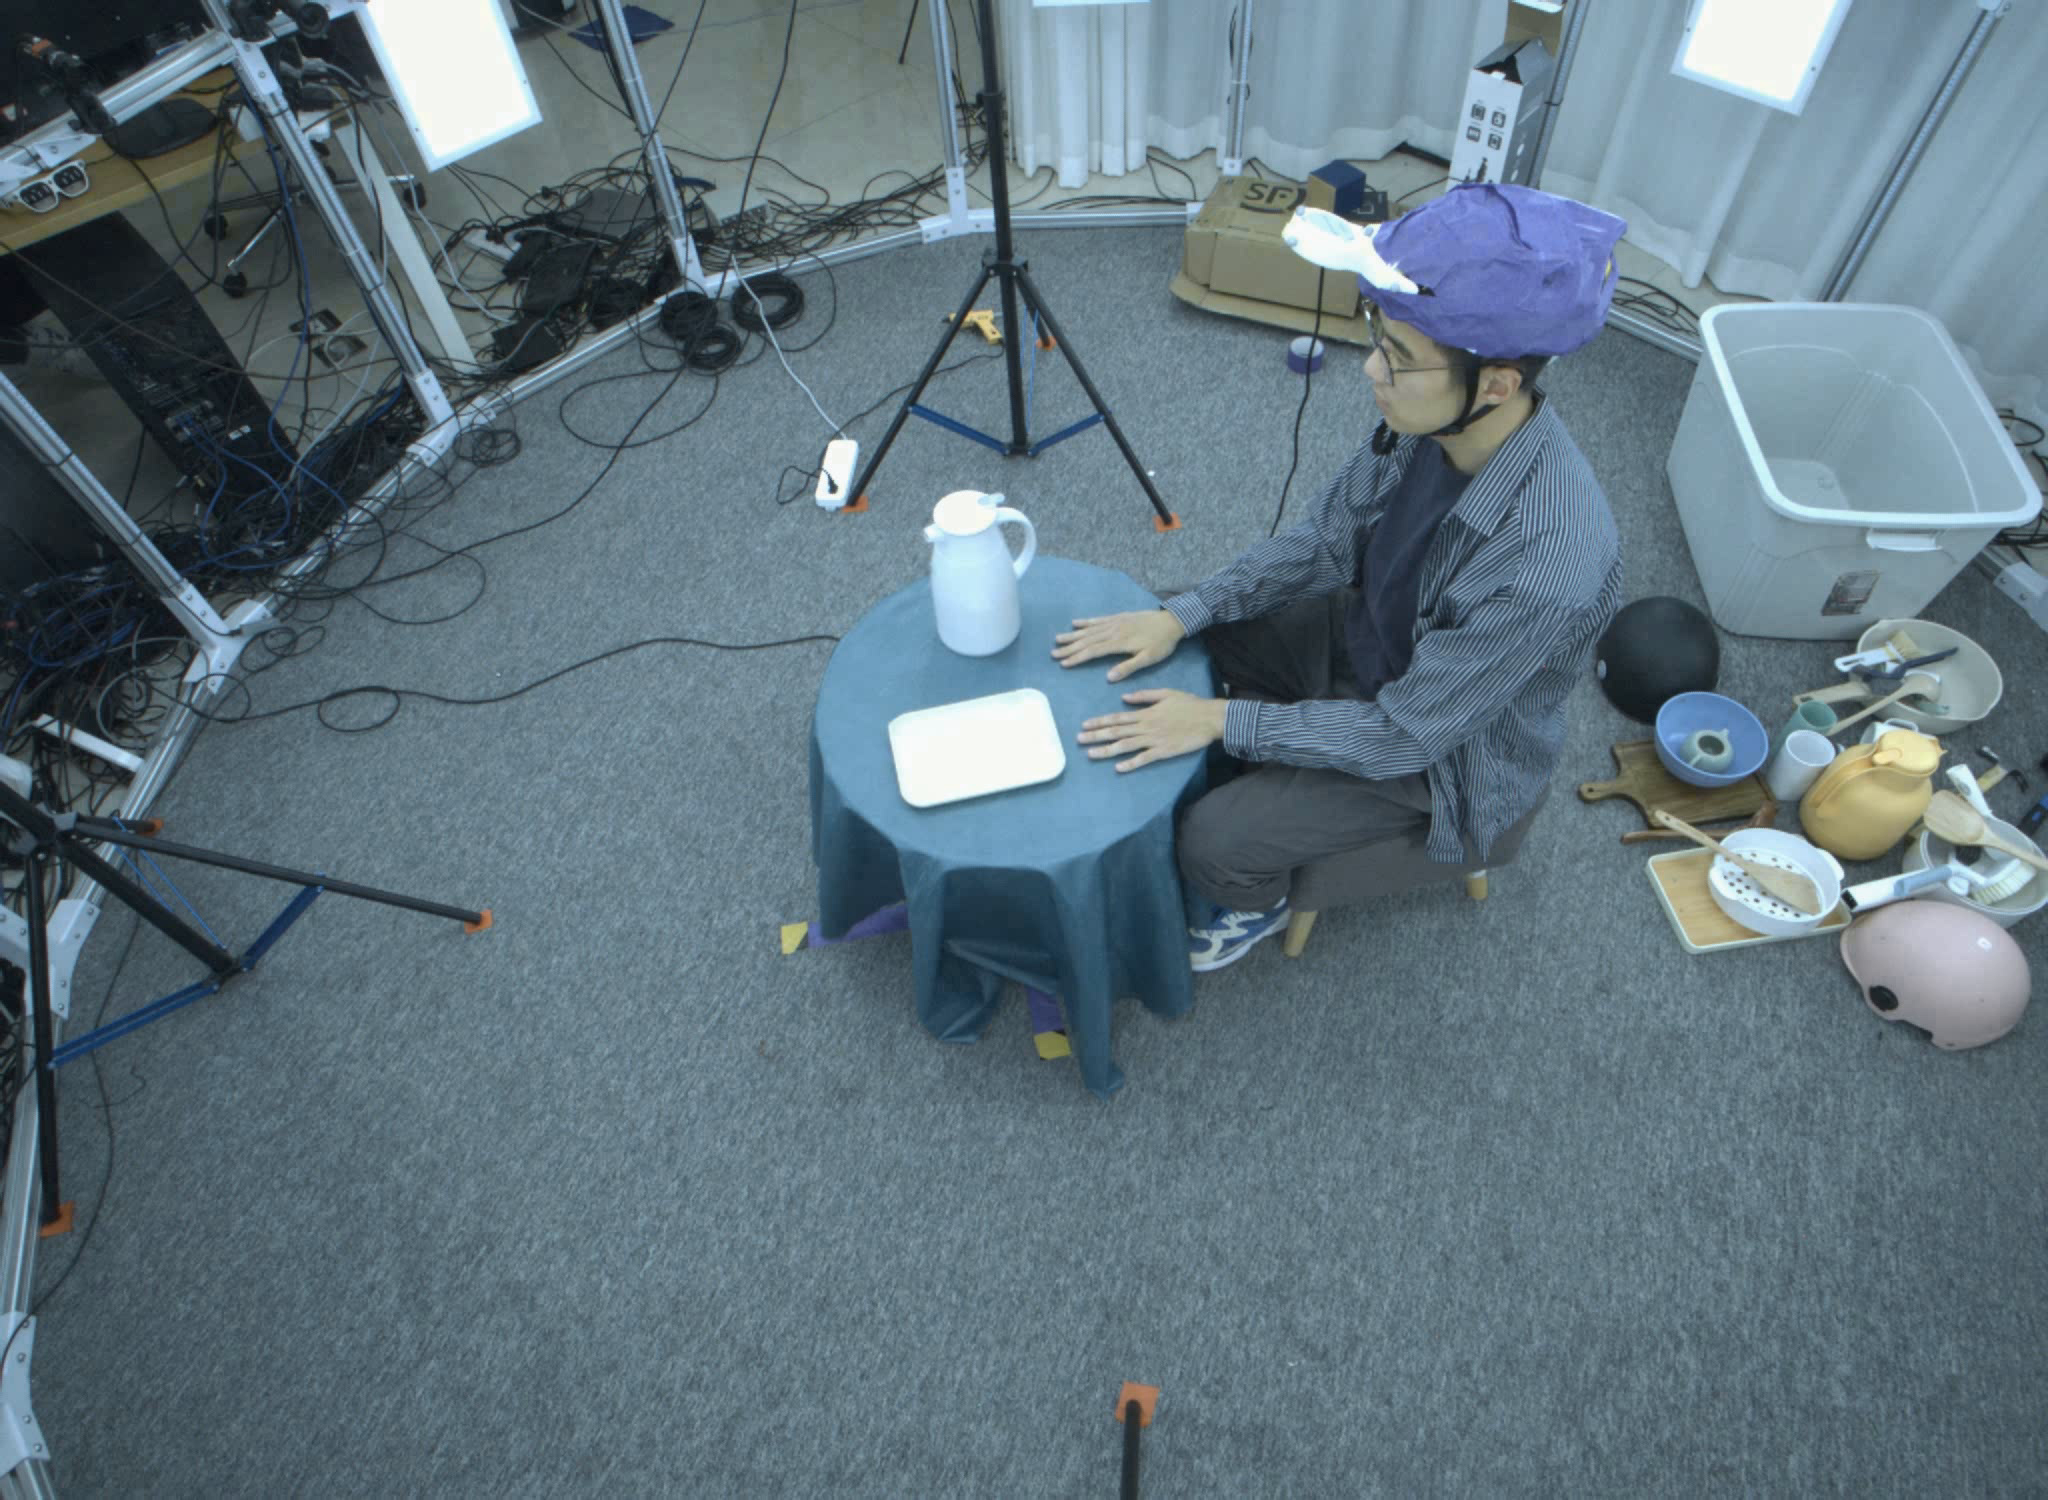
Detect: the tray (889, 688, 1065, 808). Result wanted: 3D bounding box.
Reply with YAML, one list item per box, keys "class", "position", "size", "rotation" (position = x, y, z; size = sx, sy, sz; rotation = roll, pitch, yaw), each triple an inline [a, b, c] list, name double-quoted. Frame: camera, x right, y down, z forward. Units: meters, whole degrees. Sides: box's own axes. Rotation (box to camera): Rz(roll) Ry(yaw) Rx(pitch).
- class: "tray"
  position: [-0.070, -0.003, 1.786]
  size: [0.241, 0.017, 0.168]
  rotation: [-12, 56, -7]

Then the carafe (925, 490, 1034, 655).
- class: "carafe"
  position: [-0.062, -0.280, 1.837]
  size: [0.169, 0.251, 0.130]
  rotation: [-26, 56, -16]
